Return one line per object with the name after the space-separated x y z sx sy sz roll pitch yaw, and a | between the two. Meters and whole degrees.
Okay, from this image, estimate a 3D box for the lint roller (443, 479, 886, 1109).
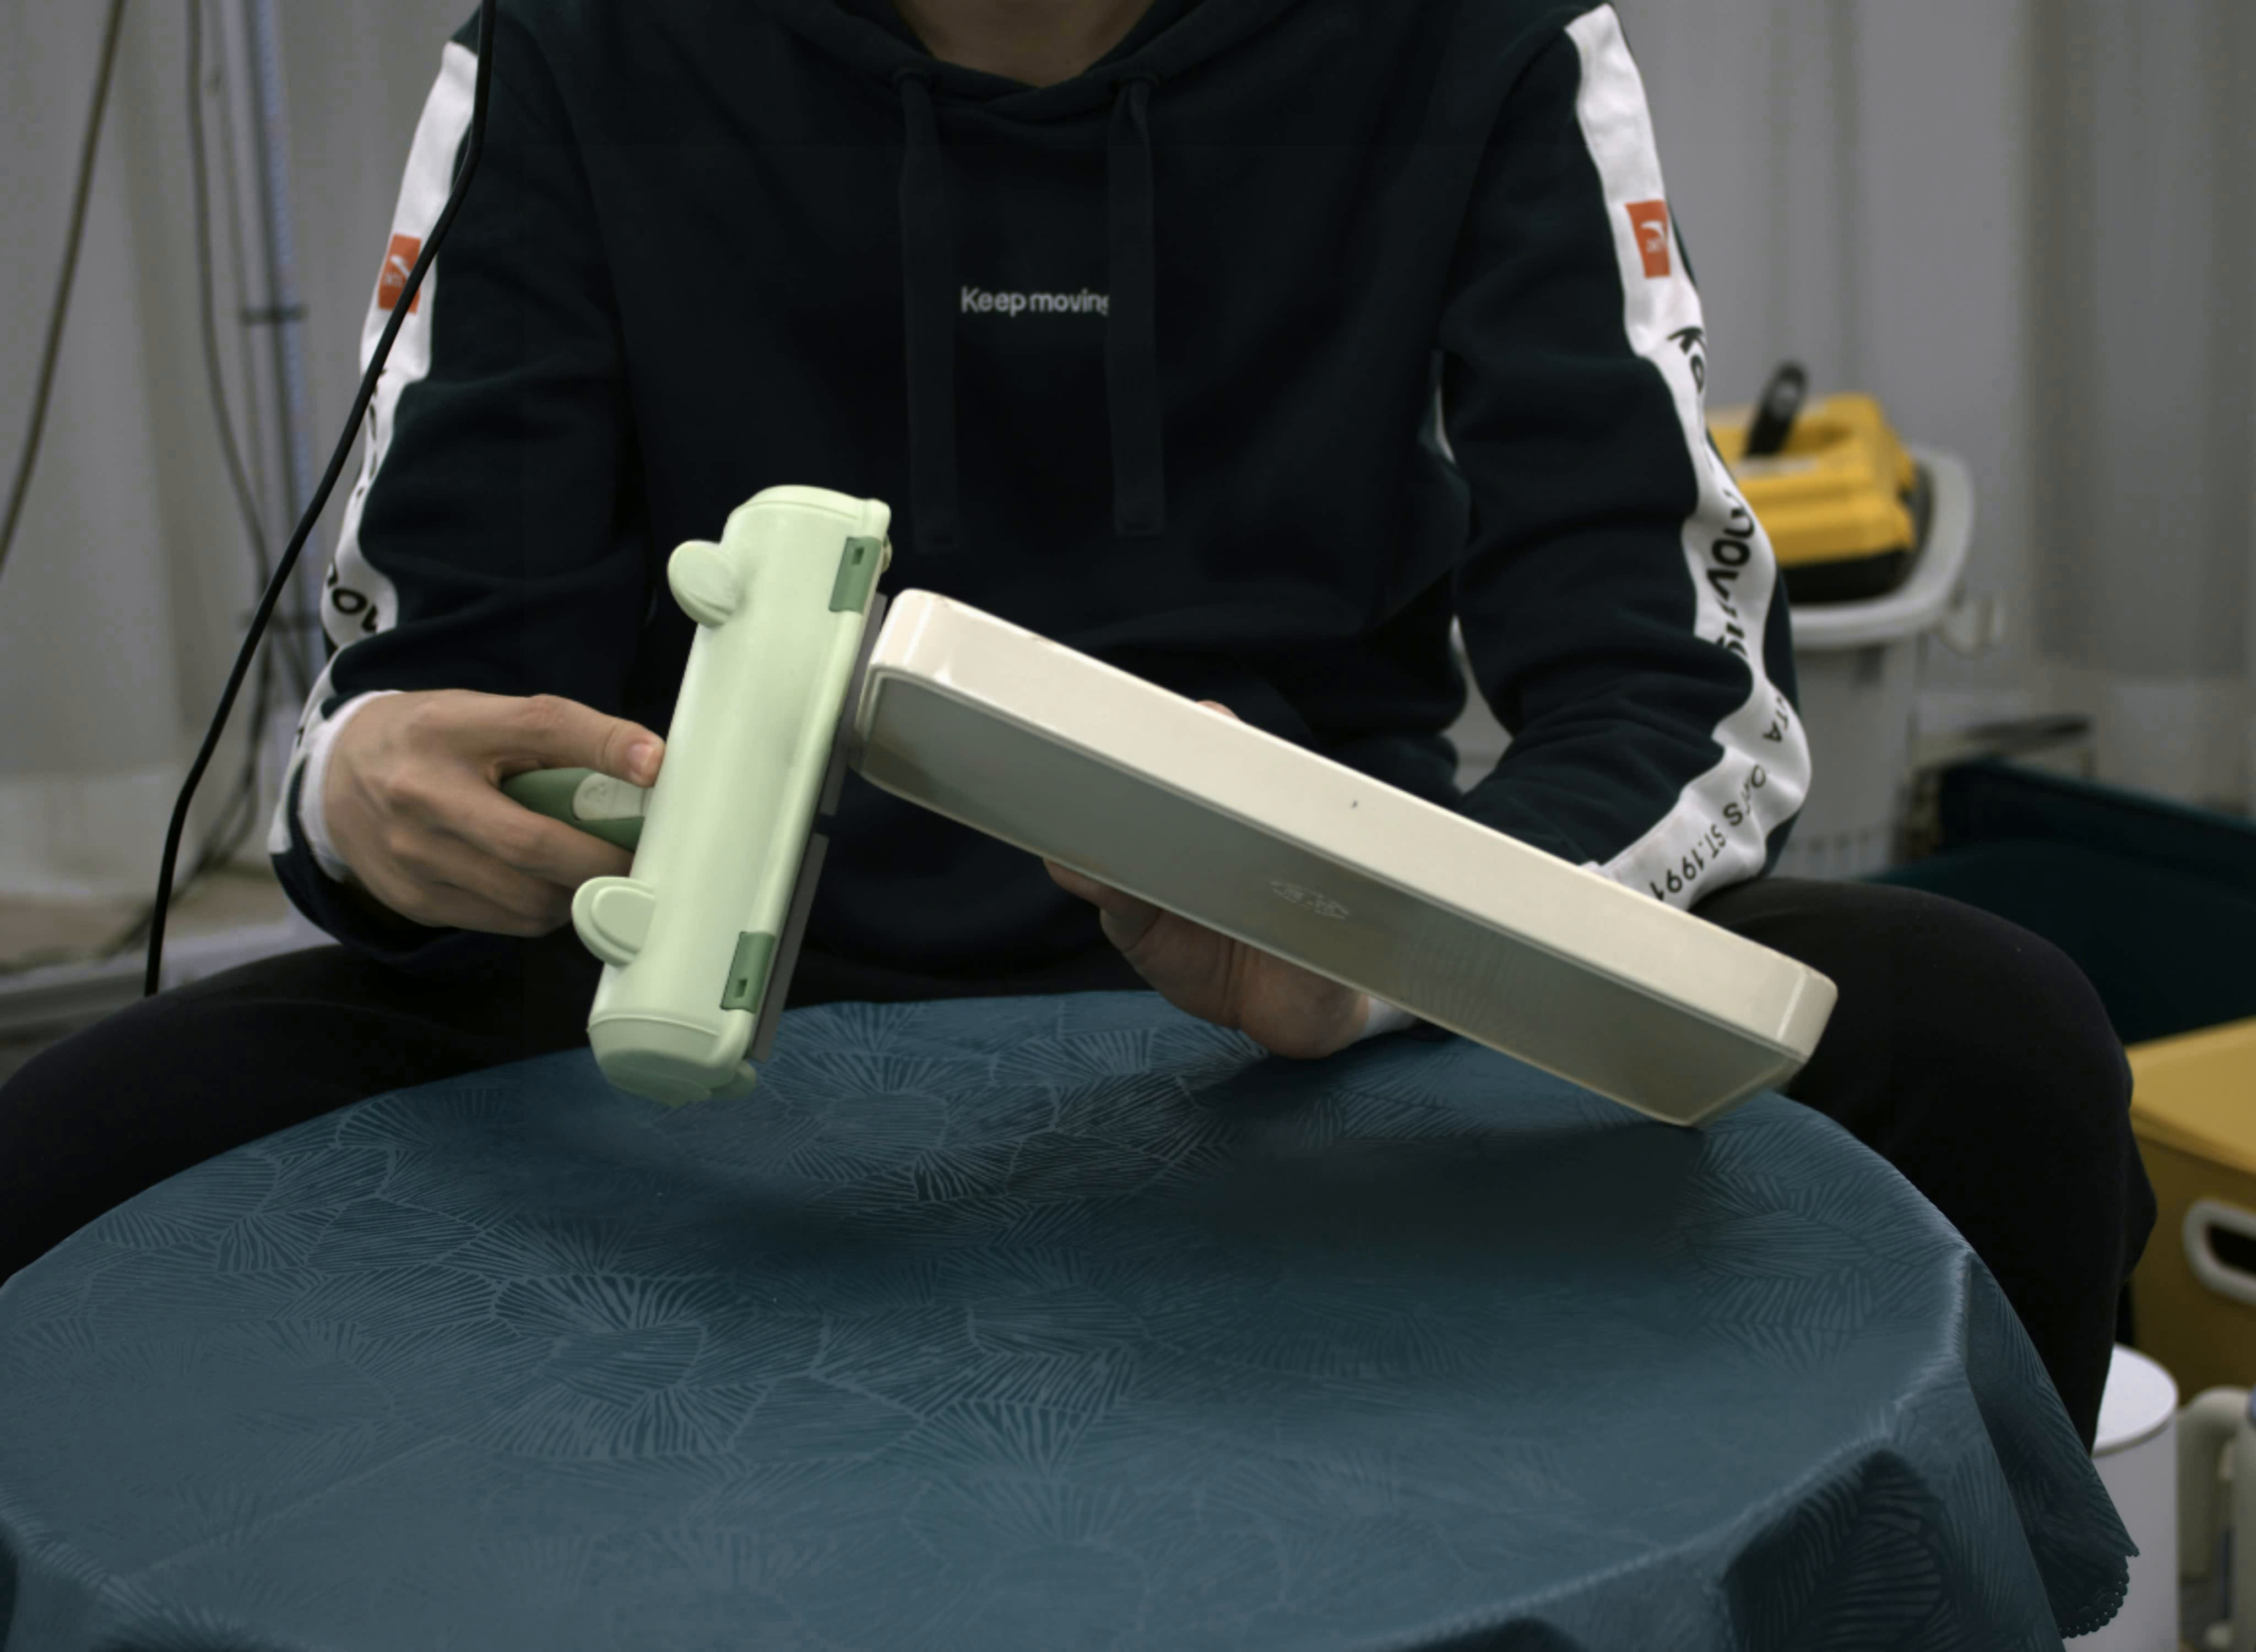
-0.166 -0.011 1.719 0.183 0.201 0.081 -4 -28 37 | lint roller

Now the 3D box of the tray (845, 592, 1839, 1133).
0.058 0.016 1.664 0.299 0.027 0.191 23 -12 0 | tray
